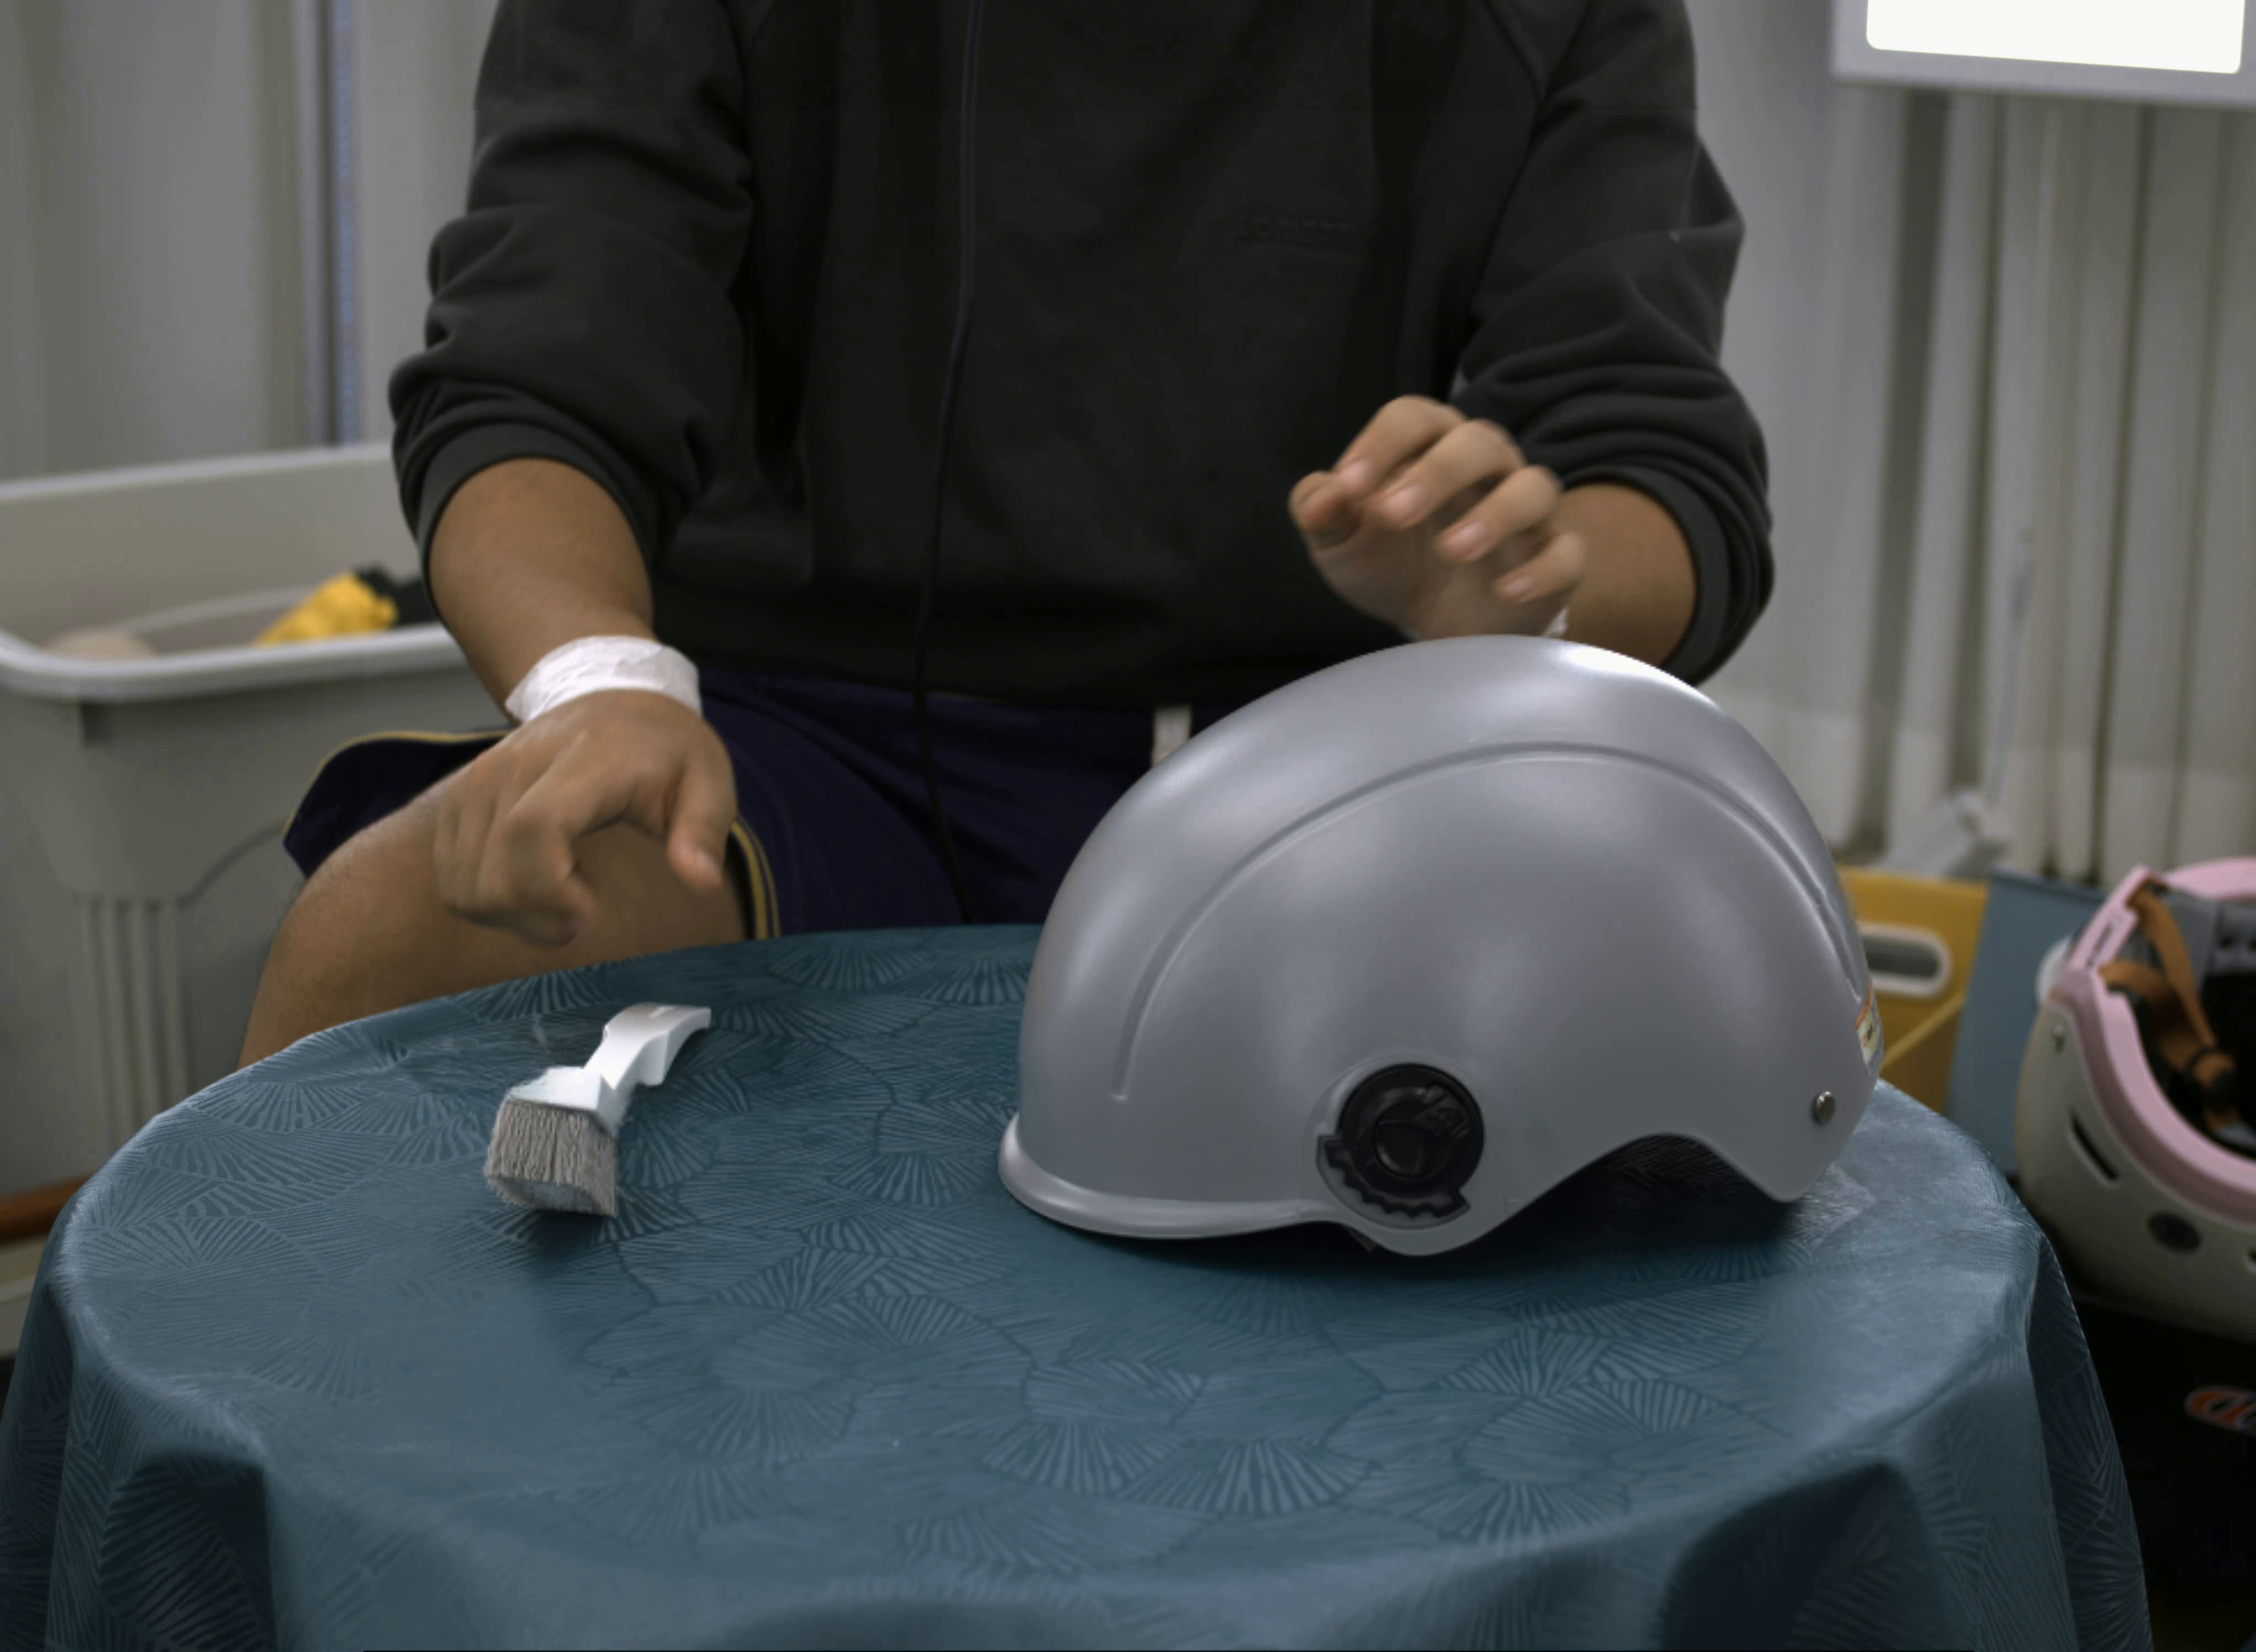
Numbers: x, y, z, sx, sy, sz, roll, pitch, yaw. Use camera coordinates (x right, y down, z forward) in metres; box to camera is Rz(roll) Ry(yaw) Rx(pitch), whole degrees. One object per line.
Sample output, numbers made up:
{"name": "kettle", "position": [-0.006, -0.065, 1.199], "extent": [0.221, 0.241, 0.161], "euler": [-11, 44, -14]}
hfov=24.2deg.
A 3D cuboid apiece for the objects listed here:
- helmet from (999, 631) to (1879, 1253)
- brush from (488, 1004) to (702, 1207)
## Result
{"name": "helmet", "position": [0.094, 0.026, 1.629], "extent": [0.276, 0.170, 0.230], "euler": [-5, 16, -10]}
{"name": "brush", "position": [-0.165, 0.088, 1.662], "extent": [0.034, 0.050, 0.243], "euler": [5, 3, 4]}
